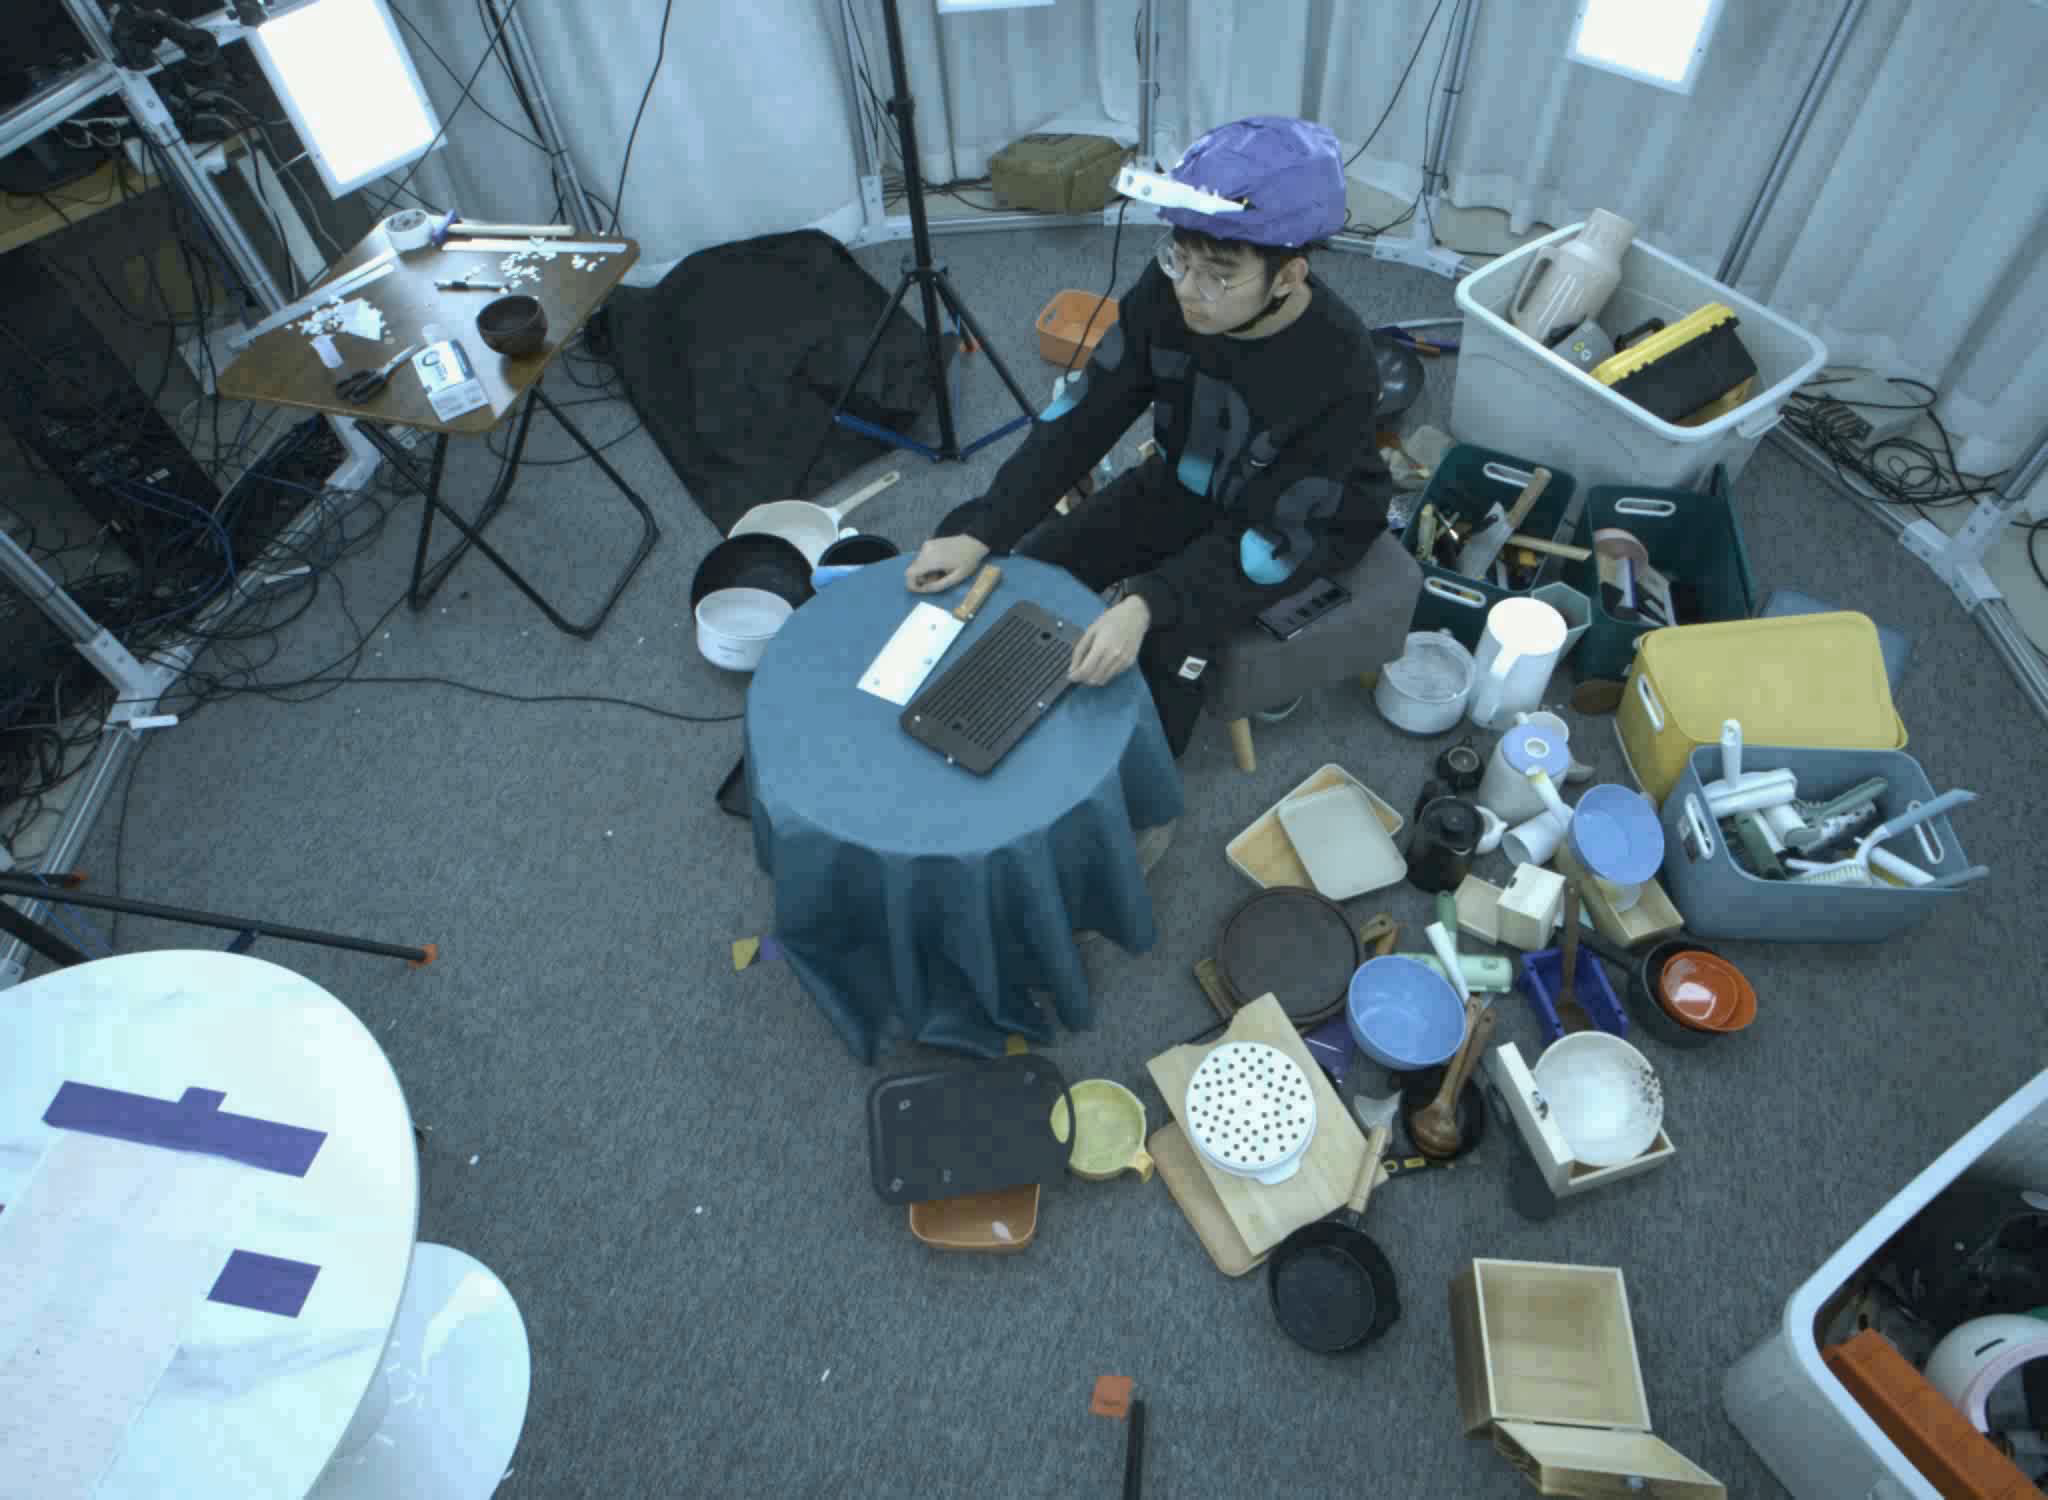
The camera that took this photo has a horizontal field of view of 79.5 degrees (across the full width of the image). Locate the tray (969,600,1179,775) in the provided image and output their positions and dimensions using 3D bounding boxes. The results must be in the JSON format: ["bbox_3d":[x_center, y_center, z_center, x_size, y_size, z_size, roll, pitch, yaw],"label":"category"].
[{"bbox_3d":[0.077,-0.097,1.842,0.167,0.019,0.308,36,63,24],"label":"tray"}]

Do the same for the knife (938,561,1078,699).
[{"bbox_3d":[-0.028,-0.199,1.919,0.091,0.021,0.307,27,62,21],"label":"knife"}]
